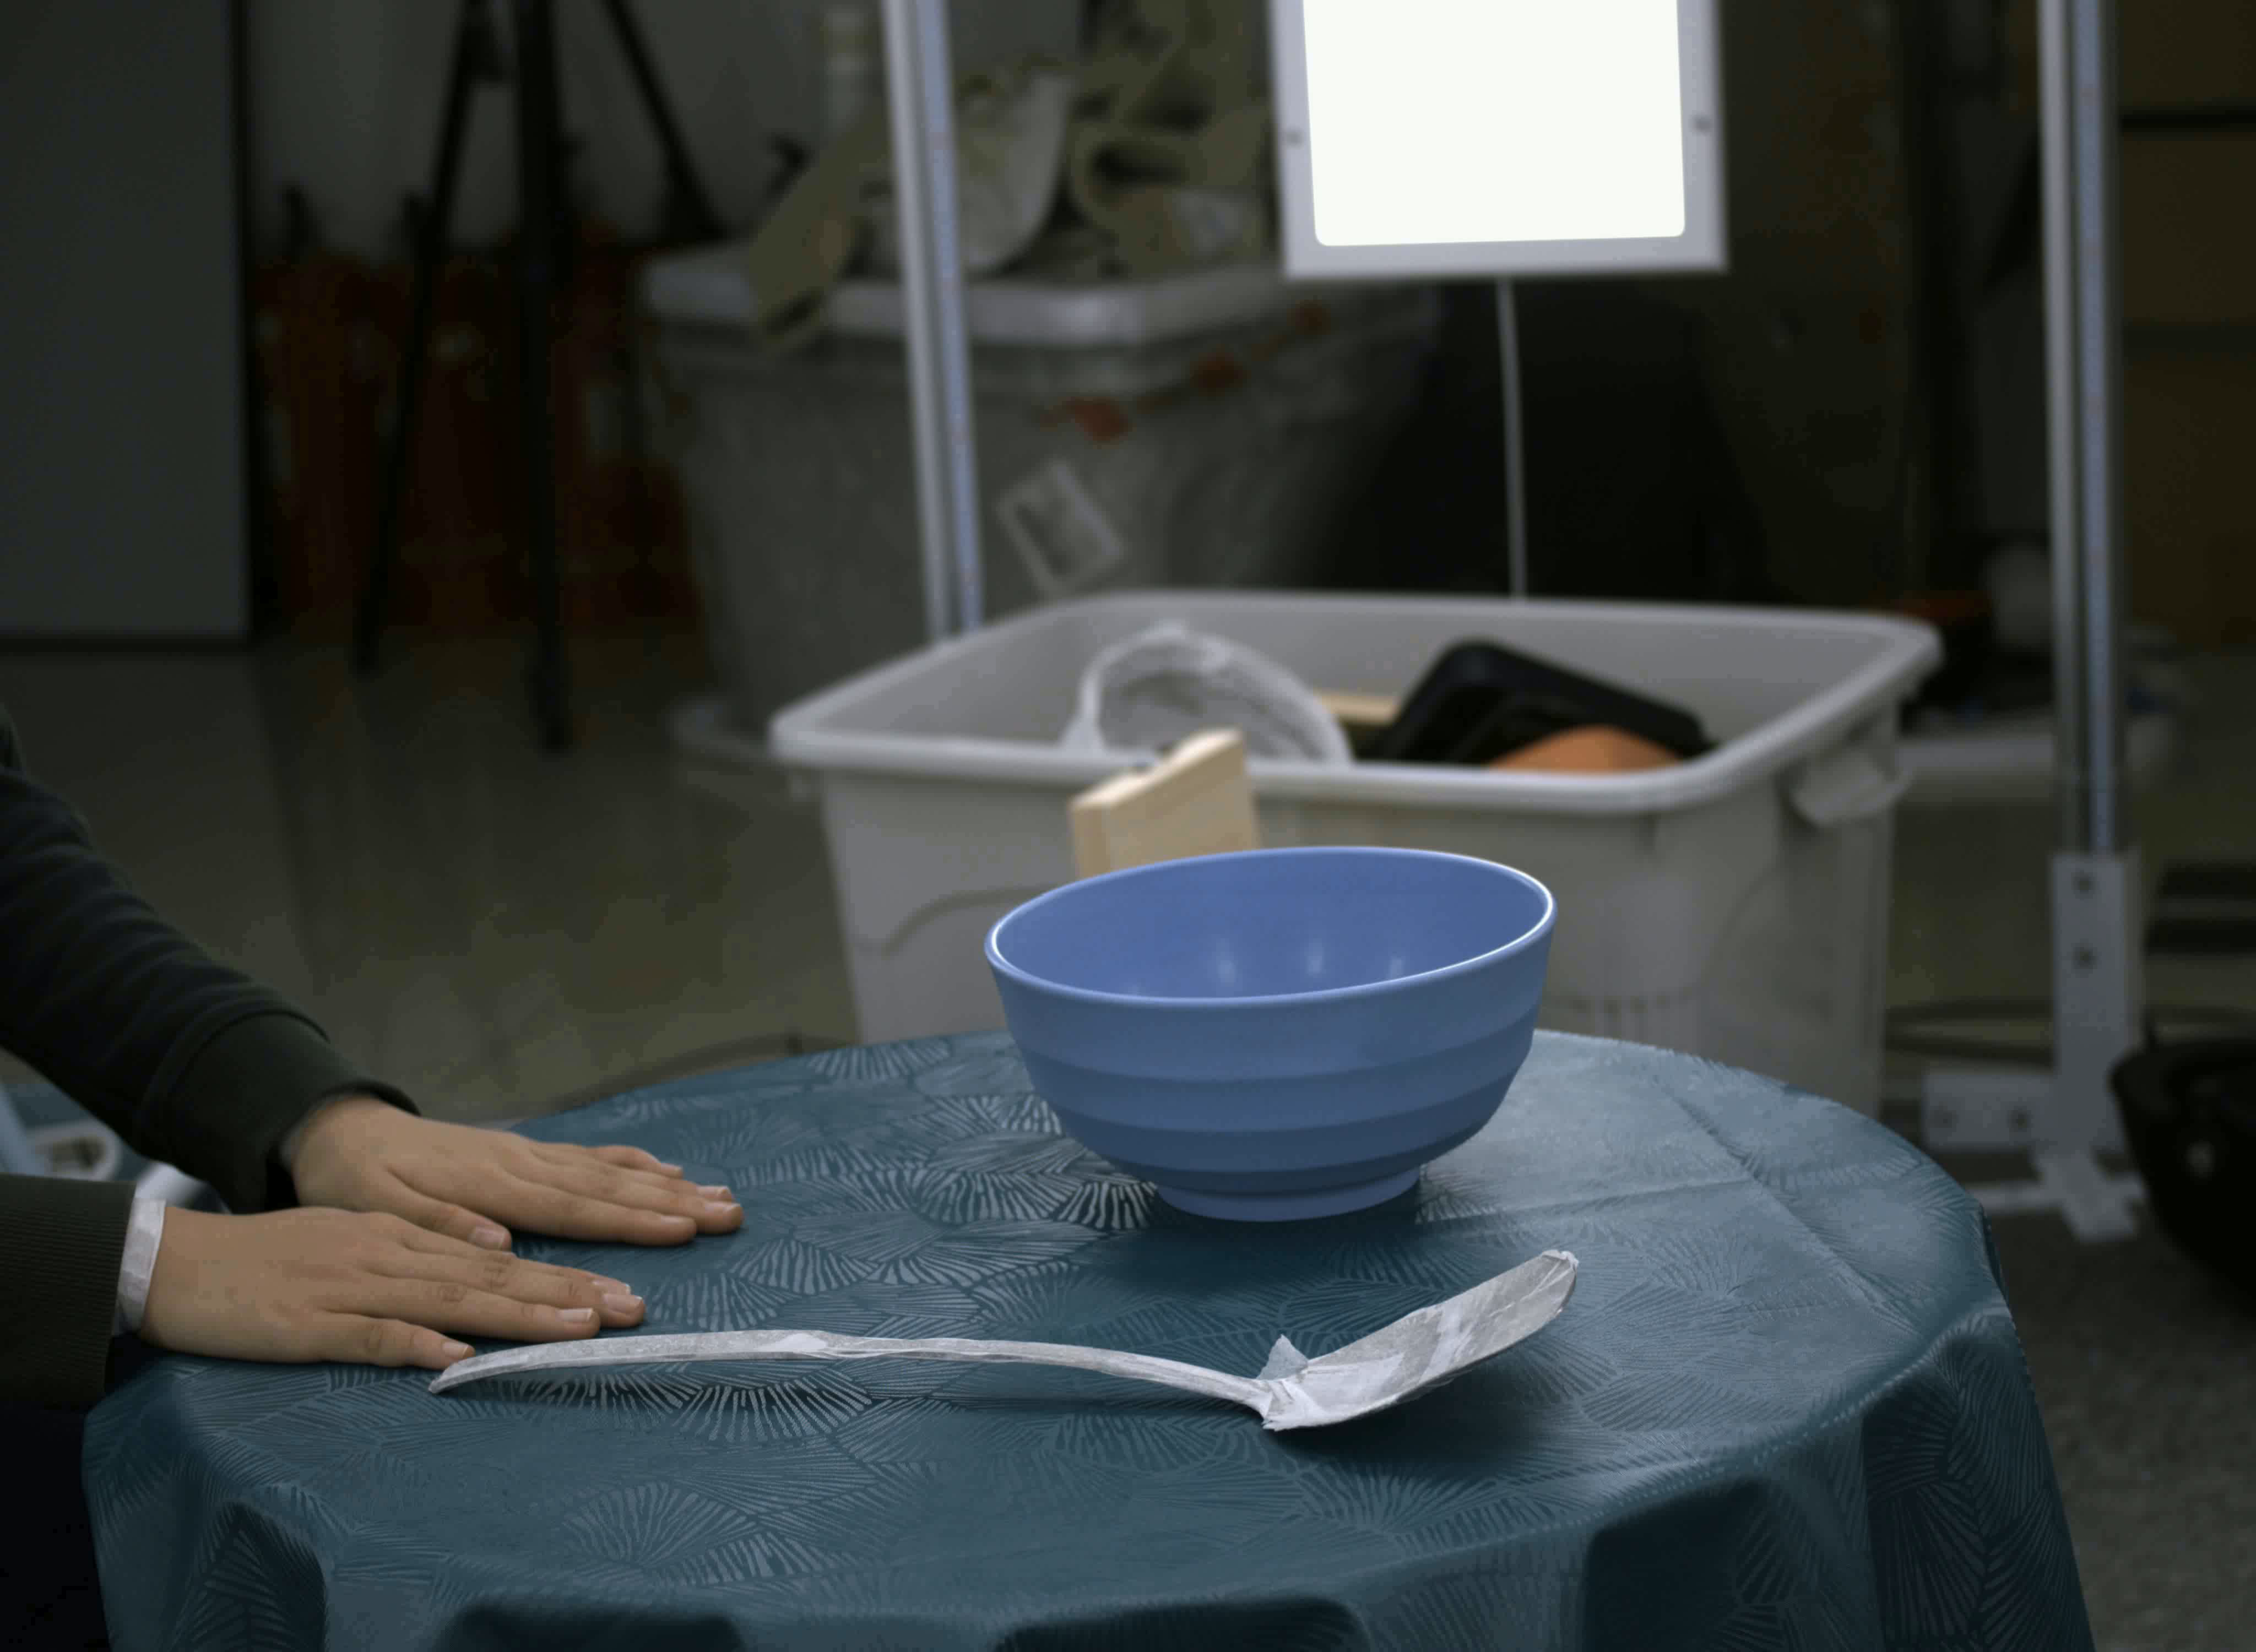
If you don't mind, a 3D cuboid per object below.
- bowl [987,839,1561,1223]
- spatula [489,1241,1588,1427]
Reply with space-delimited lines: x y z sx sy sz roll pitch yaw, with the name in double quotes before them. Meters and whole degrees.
"bowl" 0.052 0.076 1.883 0.196 0.096 0.196 -4 15 0
"spatula" -0.037 0.157 1.703 0.369 0.045 0.097 0 16 20
